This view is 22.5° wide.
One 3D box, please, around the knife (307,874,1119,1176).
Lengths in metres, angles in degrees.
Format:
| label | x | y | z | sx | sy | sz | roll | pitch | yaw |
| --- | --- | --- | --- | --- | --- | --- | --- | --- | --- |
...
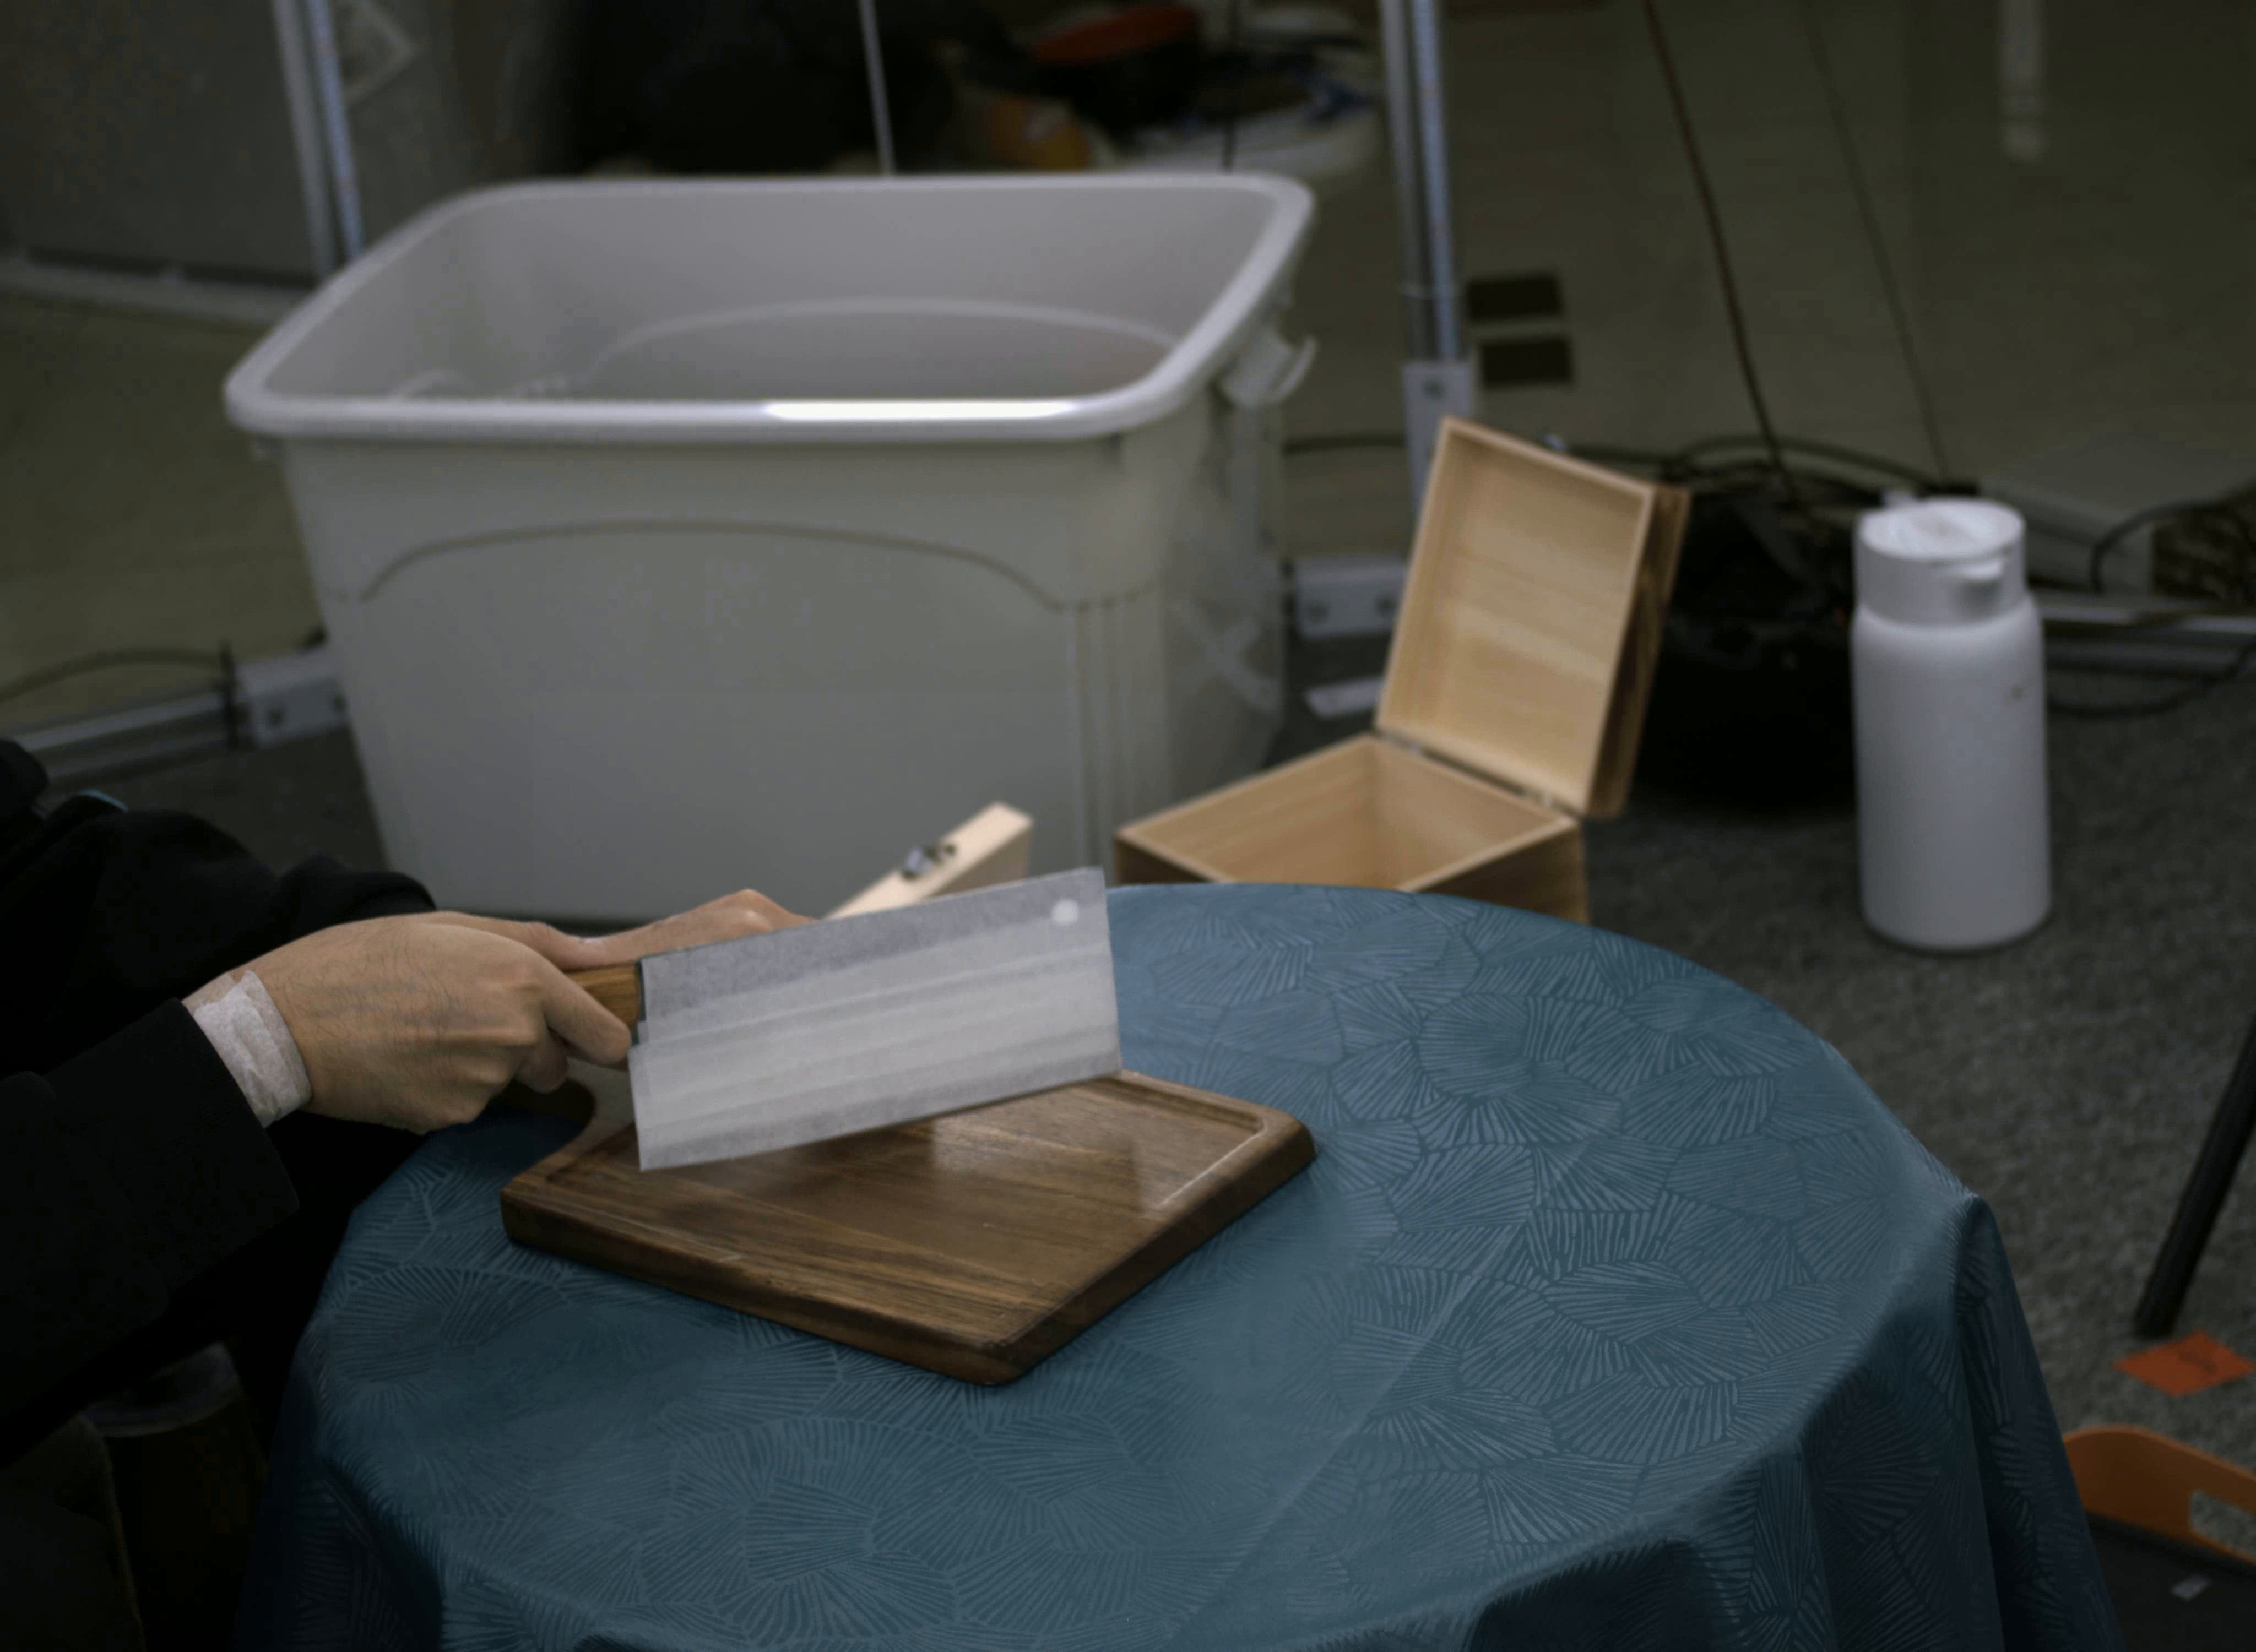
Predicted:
| label | x | y | z | sx | sy | sz | roll | pitch | yaw |
| --- | --- | --- | --- | --- | --- | --- | --- | --- | --- |
| knife | -0.151 | 0.084 | 2.121 | 0.305 | 0.094 | 0.021 | -11 | 27 | -12 |

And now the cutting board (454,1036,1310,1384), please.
| label | x | y | z | sx | sy | sz | roll | pitch | yaw |
| --- | --- | --- | --- | --- | --- | --- | --- | --- | --- |
| cutting board | -0.124 | 0.125 | 2.183 | 0.350 | 0.023 | 0.199 | 13 | 31 | 35 |
